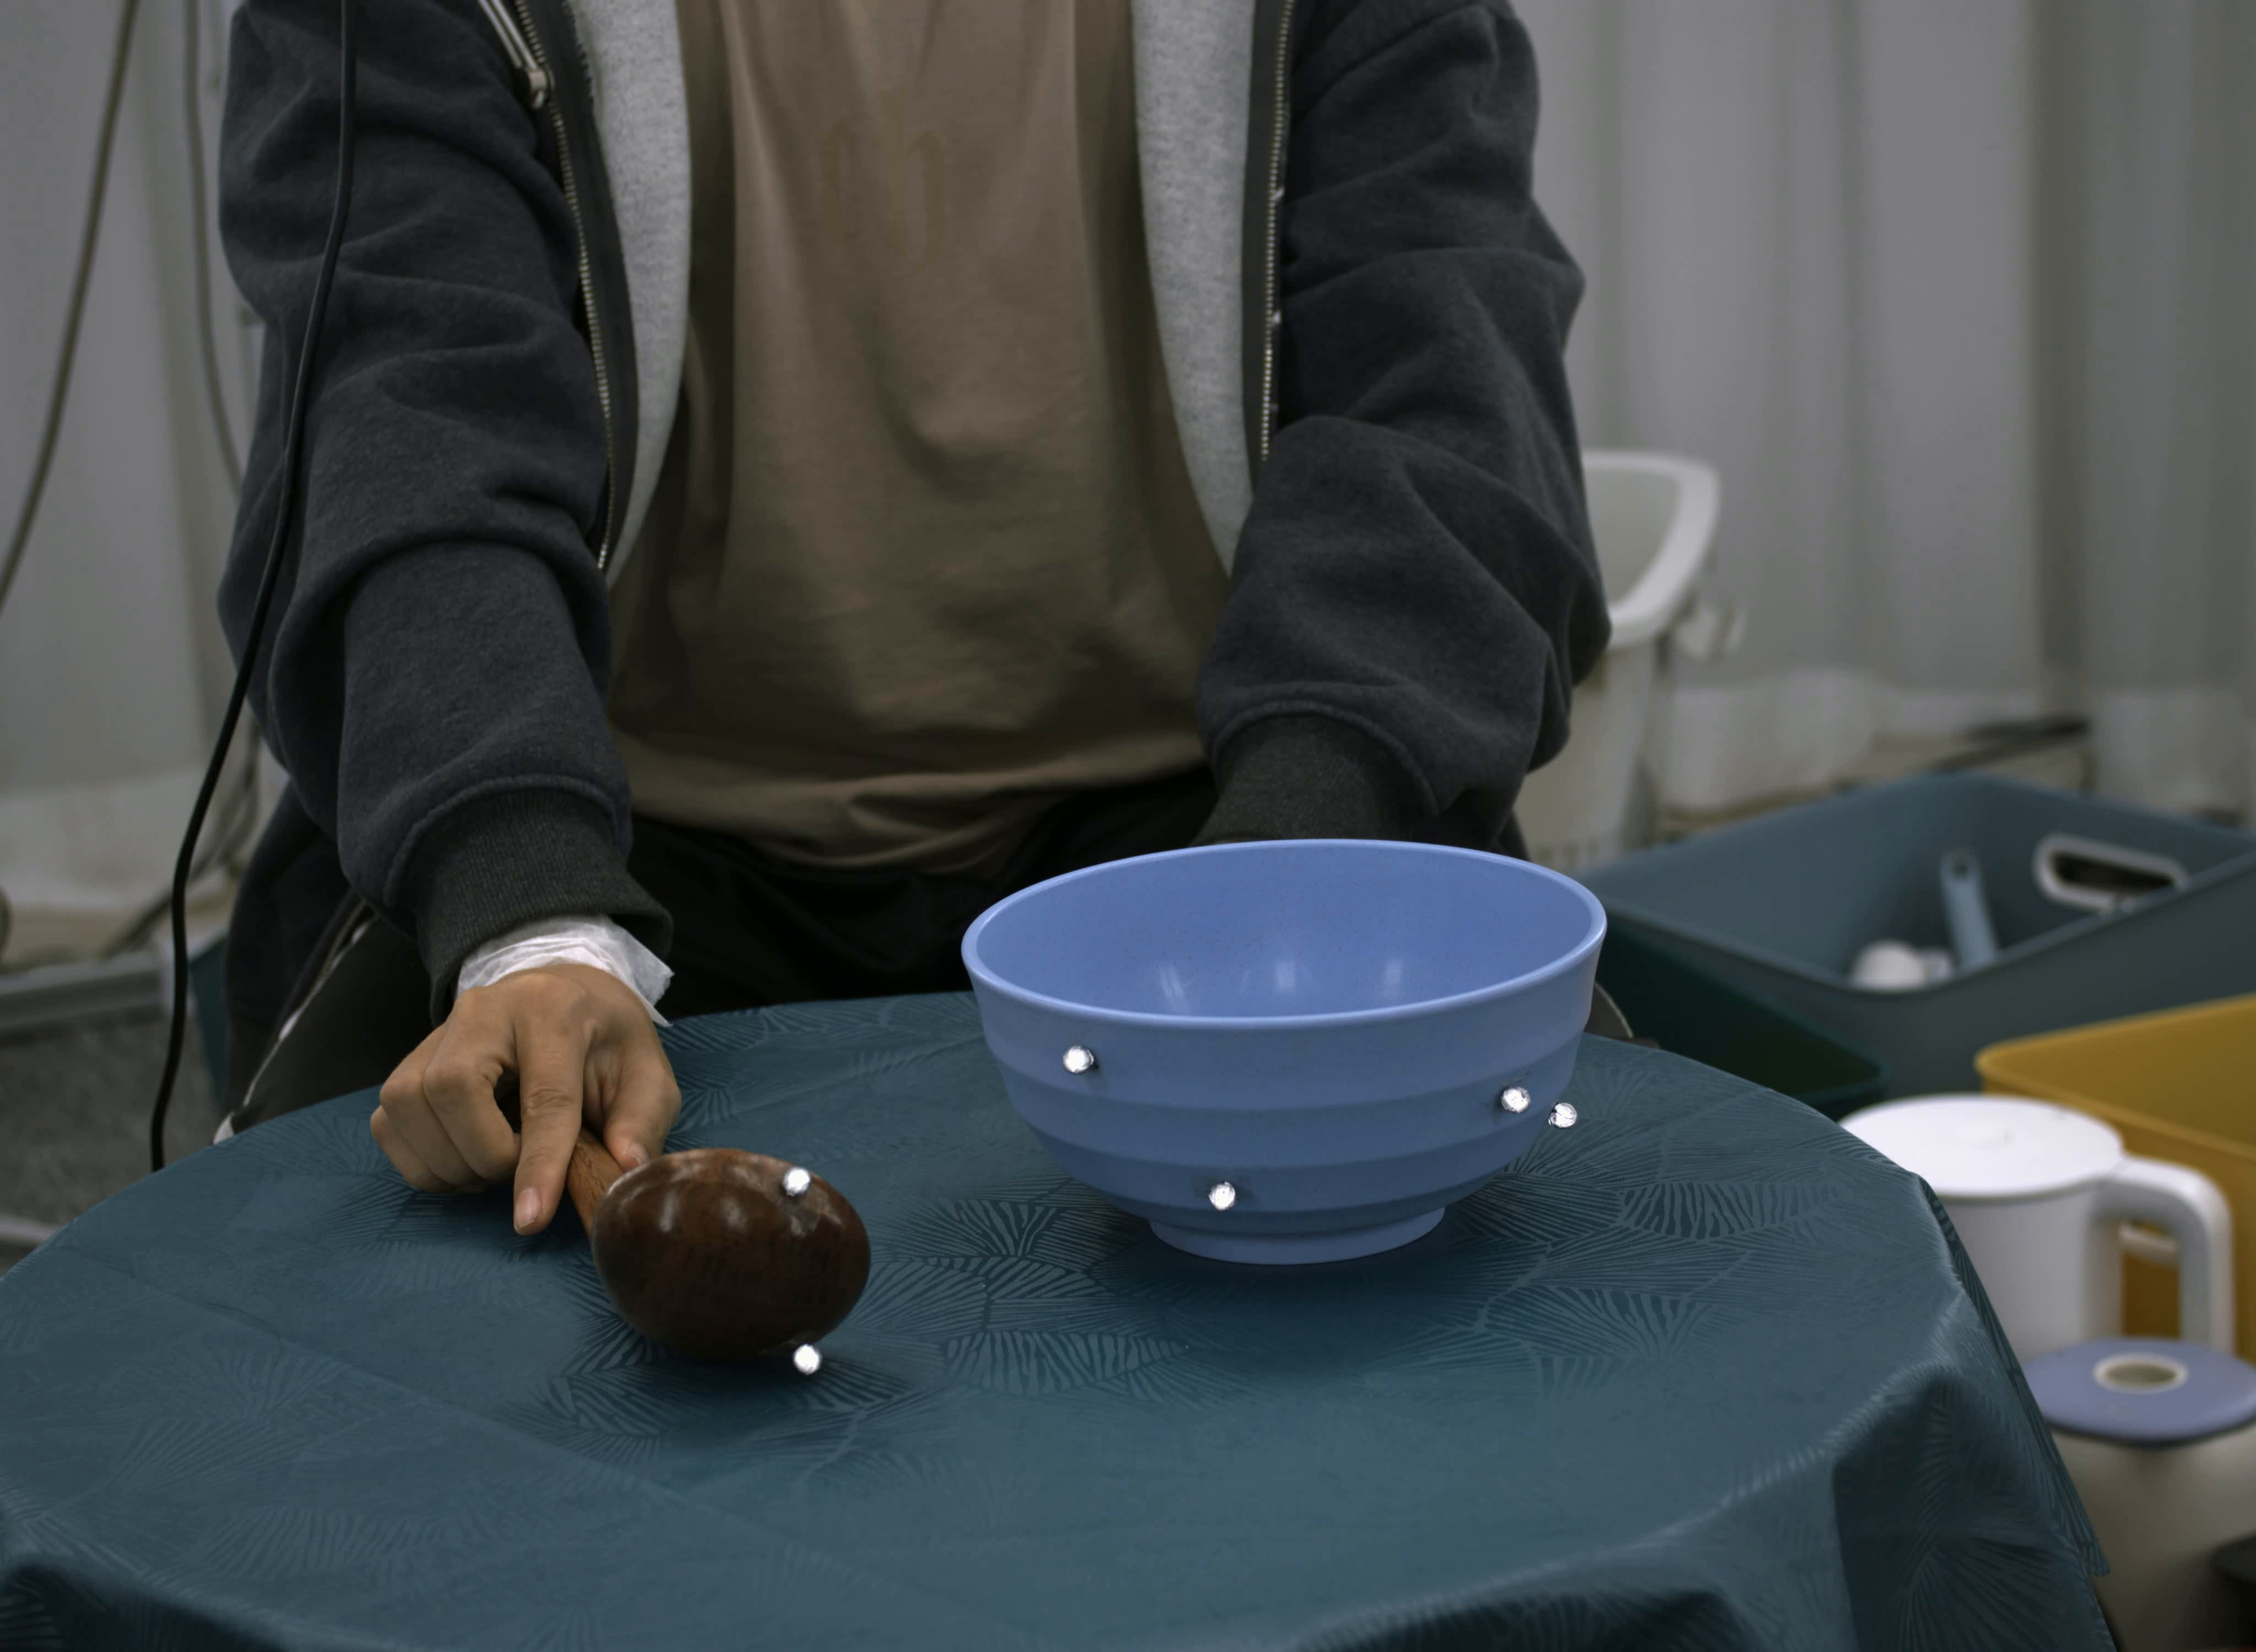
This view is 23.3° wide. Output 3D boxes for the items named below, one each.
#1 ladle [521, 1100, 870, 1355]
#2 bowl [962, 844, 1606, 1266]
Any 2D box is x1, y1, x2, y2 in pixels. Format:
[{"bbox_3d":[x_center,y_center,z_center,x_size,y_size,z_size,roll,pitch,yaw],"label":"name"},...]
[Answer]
[{"bbox_3d":[-0.143,0.098,1.665,0.081,0.076,0.276,30,4,-19],"label":"ladle"},{"bbox_3d":[0.050,0.075,1.673,0.196,0.095,0.198,-4,14,1],"label":"bowl"}]
